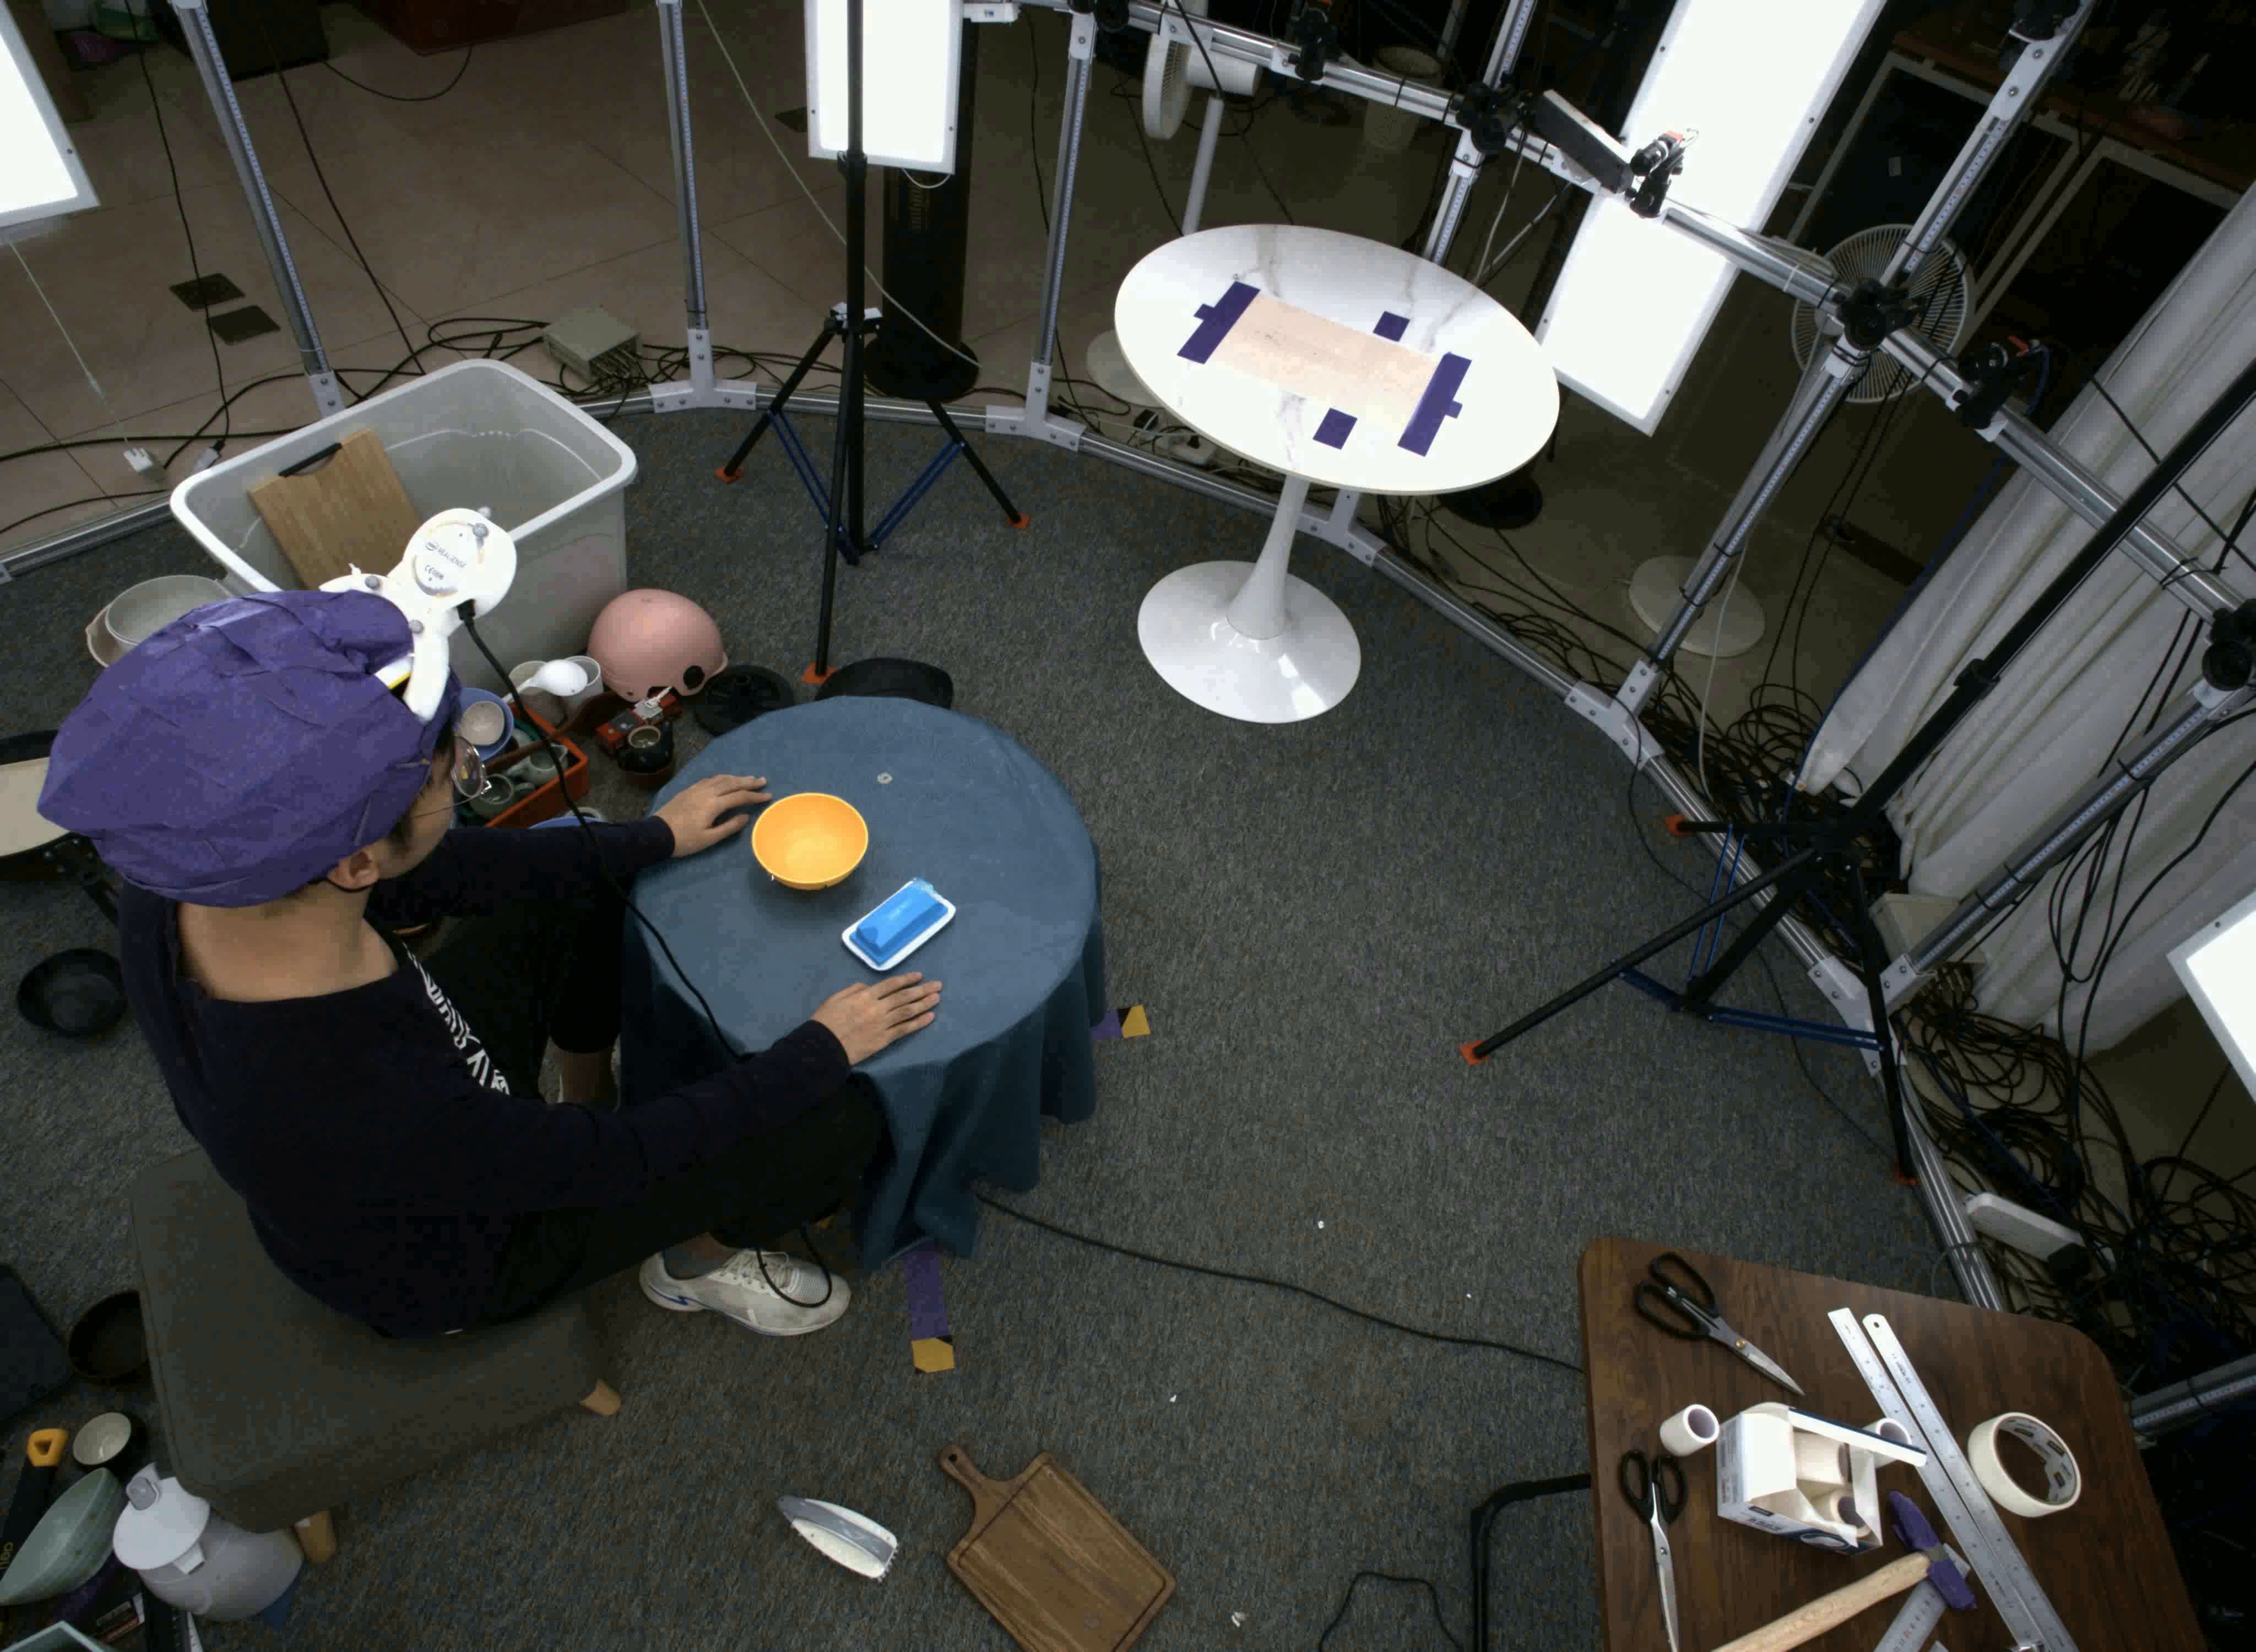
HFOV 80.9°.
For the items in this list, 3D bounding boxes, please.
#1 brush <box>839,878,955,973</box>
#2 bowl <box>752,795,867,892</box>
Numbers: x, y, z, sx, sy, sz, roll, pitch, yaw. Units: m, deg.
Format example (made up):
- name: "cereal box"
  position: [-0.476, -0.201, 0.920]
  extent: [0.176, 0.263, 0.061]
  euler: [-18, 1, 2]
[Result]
- name: "brush"
  position: [-0.289, 0.116, 1.633]
  extent: [0.081, 0.057, 0.144]
  euler: [37, 52, 20]
- name: "bowl"
  position: [-0.409, 0.033, 1.669]
  extent: [0.145, 0.061, 0.142]
  euler: [8, 50, -8]
